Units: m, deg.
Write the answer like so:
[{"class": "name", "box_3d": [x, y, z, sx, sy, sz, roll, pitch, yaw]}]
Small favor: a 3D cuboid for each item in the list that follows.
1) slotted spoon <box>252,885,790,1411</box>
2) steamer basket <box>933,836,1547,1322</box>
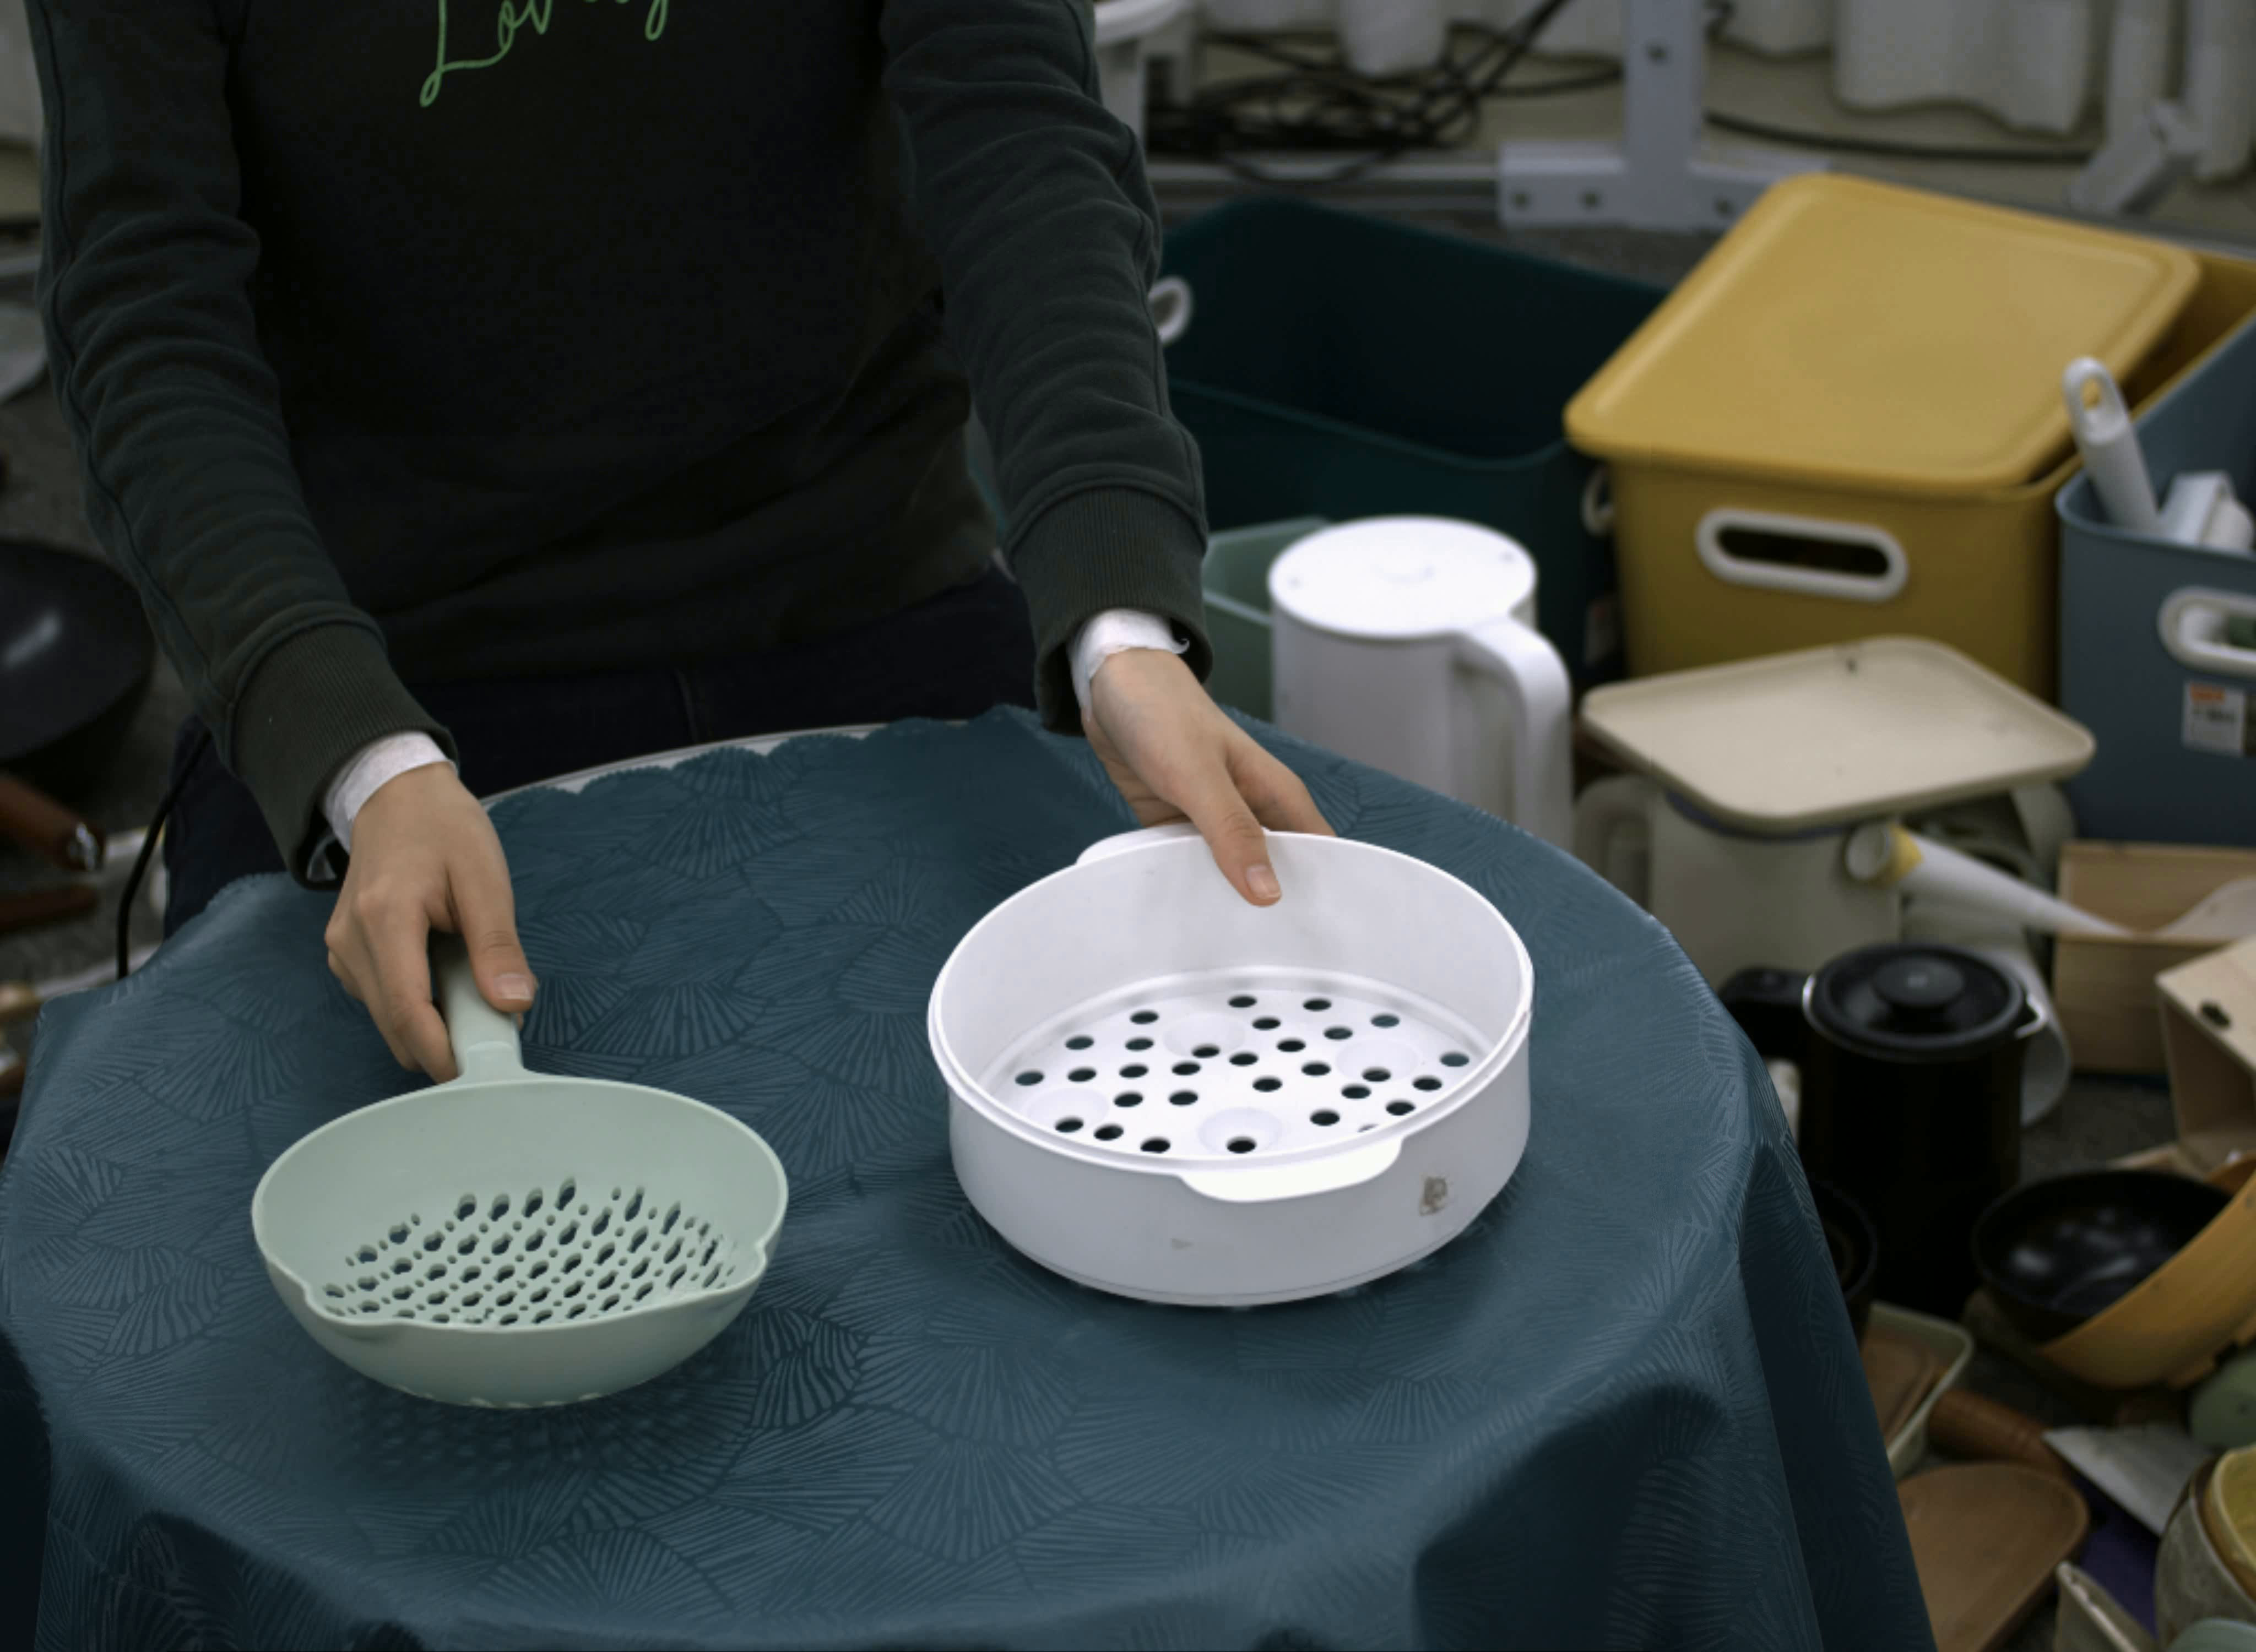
[{"class": "slotted spoon", "box_3d": [-0.209, 0.091, 1.859, 0.169, 0.074, 0.364, -3, 31, -10]}, {"class": "steamer basket", "box_3d": [0.038, 0.085, 1.852, 0.201, 0.068, 0.233, -8, 30, -9]}]
